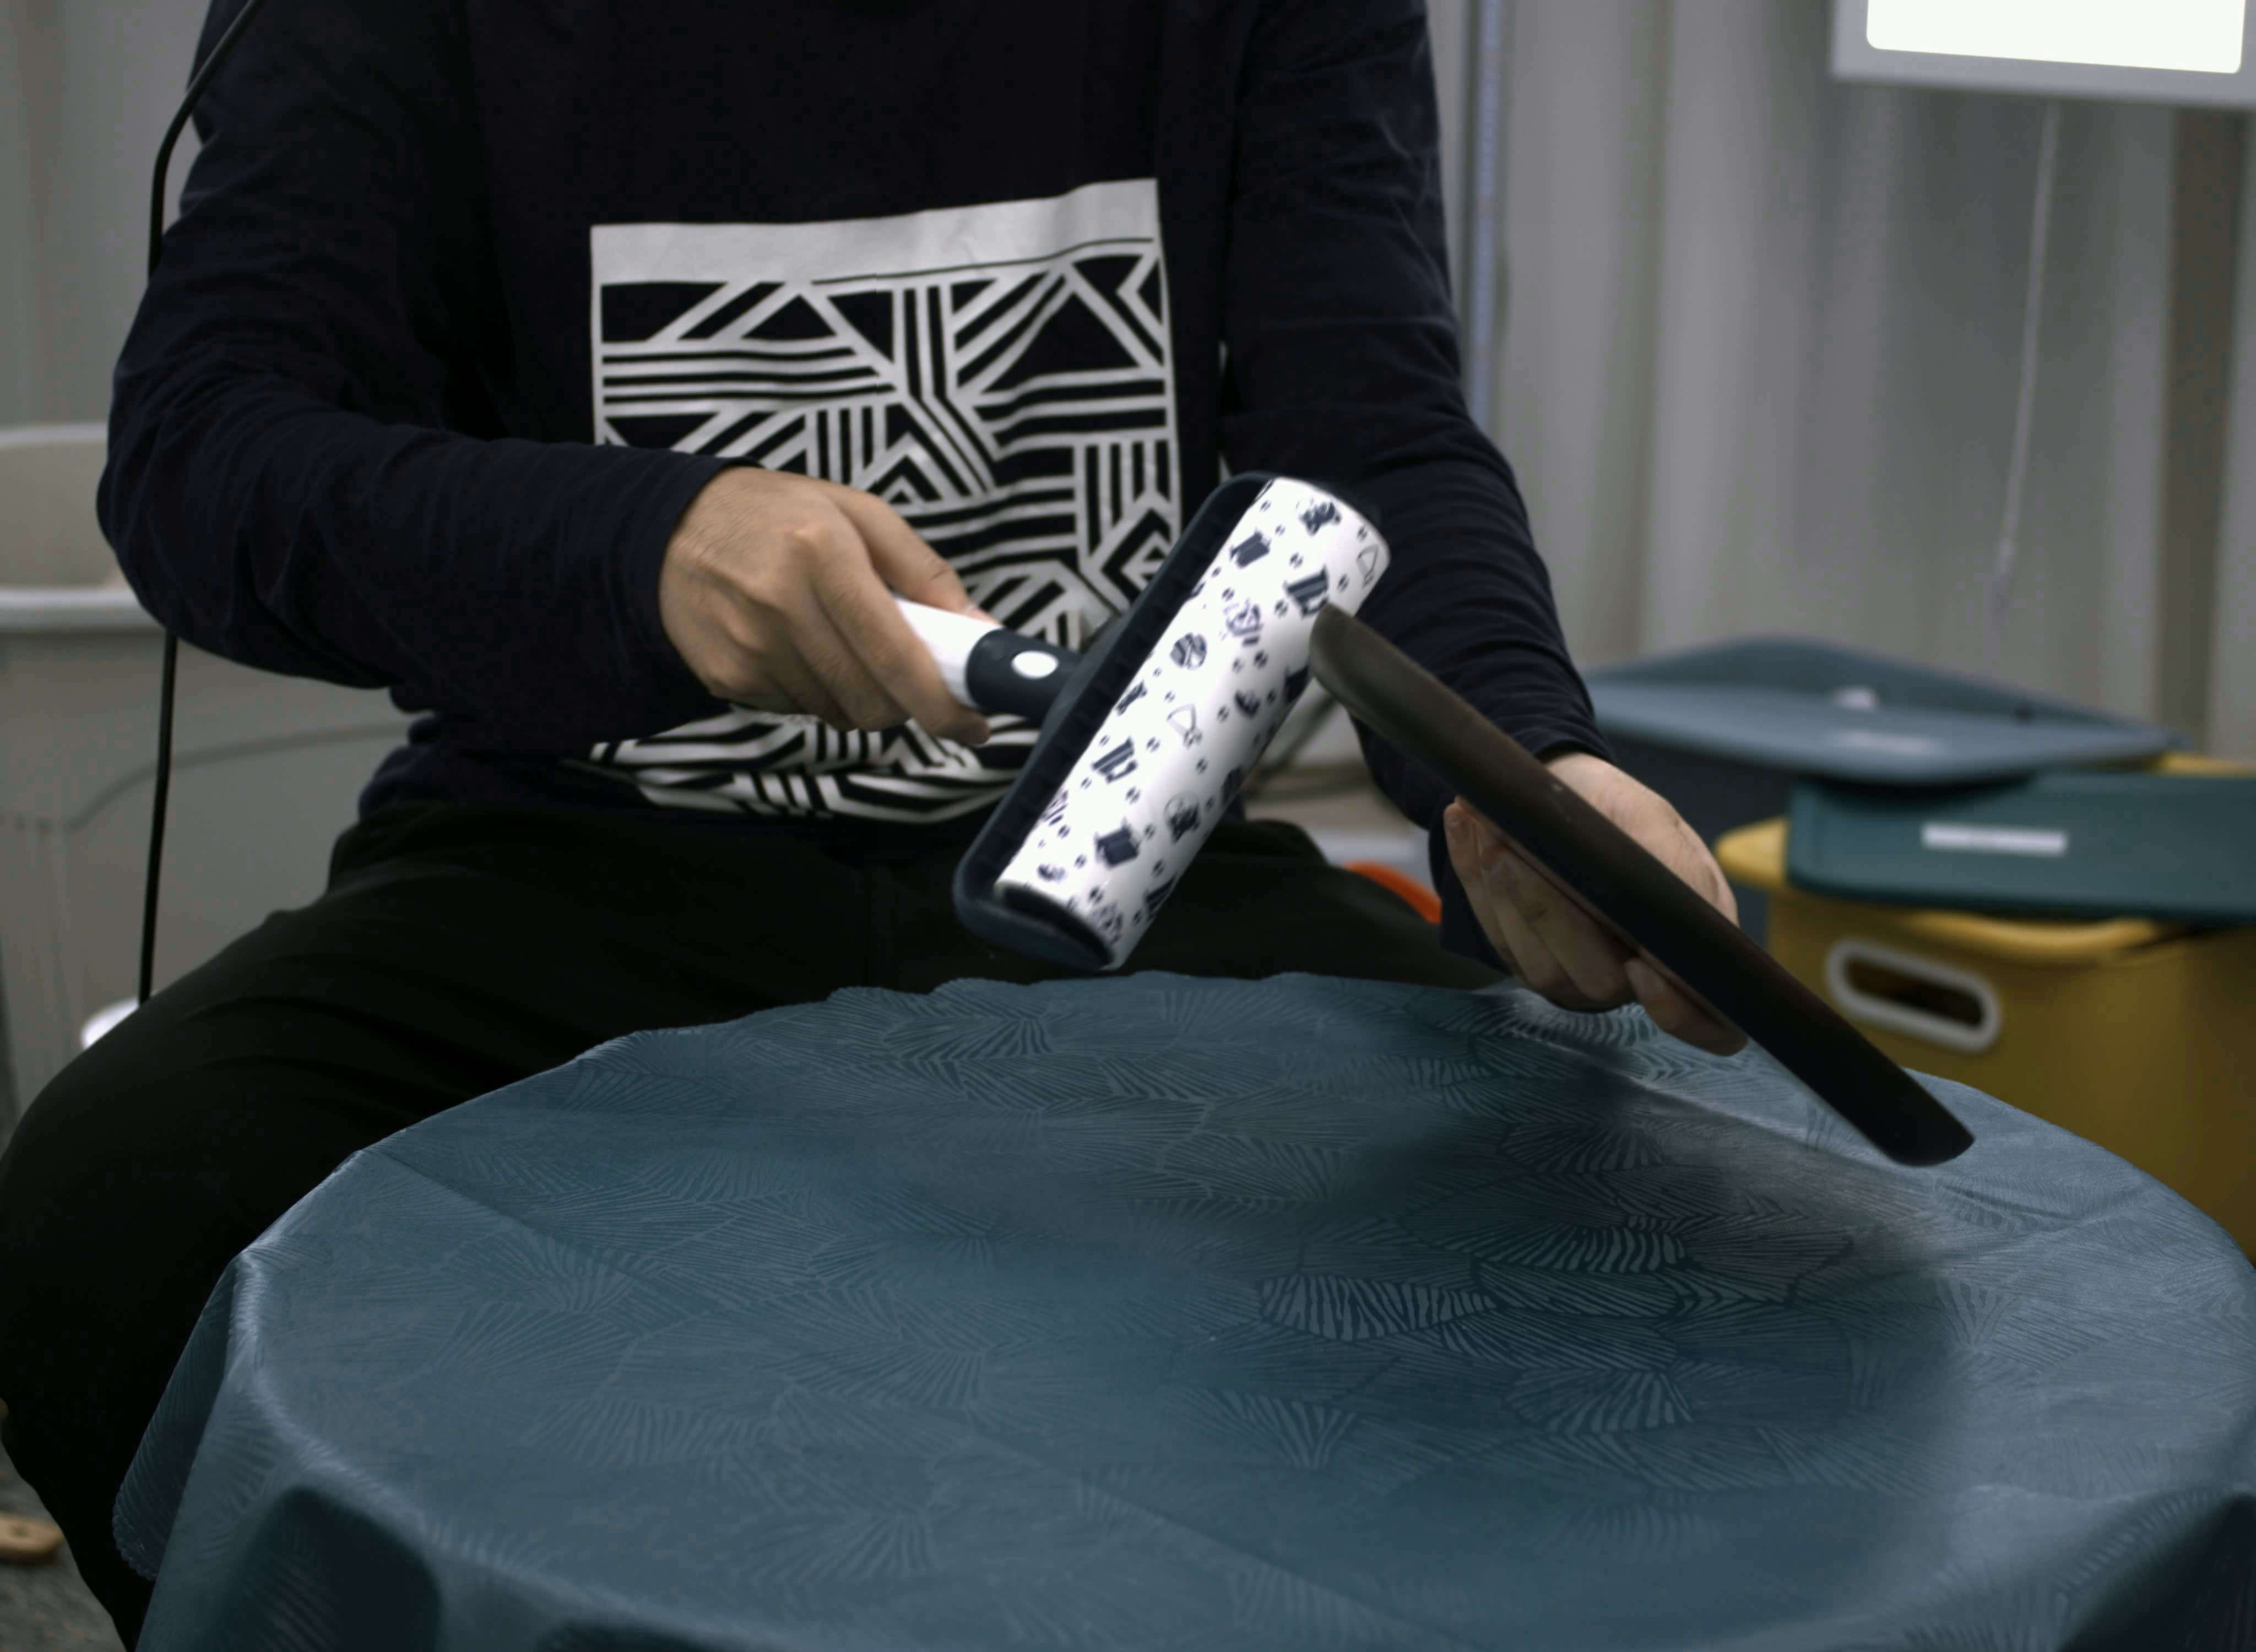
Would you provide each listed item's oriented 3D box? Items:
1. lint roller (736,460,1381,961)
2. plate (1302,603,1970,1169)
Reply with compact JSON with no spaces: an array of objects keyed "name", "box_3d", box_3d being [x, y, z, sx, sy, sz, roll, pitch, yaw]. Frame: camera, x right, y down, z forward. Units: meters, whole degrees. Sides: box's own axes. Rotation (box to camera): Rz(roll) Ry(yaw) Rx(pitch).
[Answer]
[{"name":"lint roller","box_3d":[-0.049,-0.054,1.706,0.244,0.051,0.176,15,66,43]},{"name":"plate","box_3d":[0.149,0.020,1.581,0.254,0.029,0.255,41,0,1]}]
